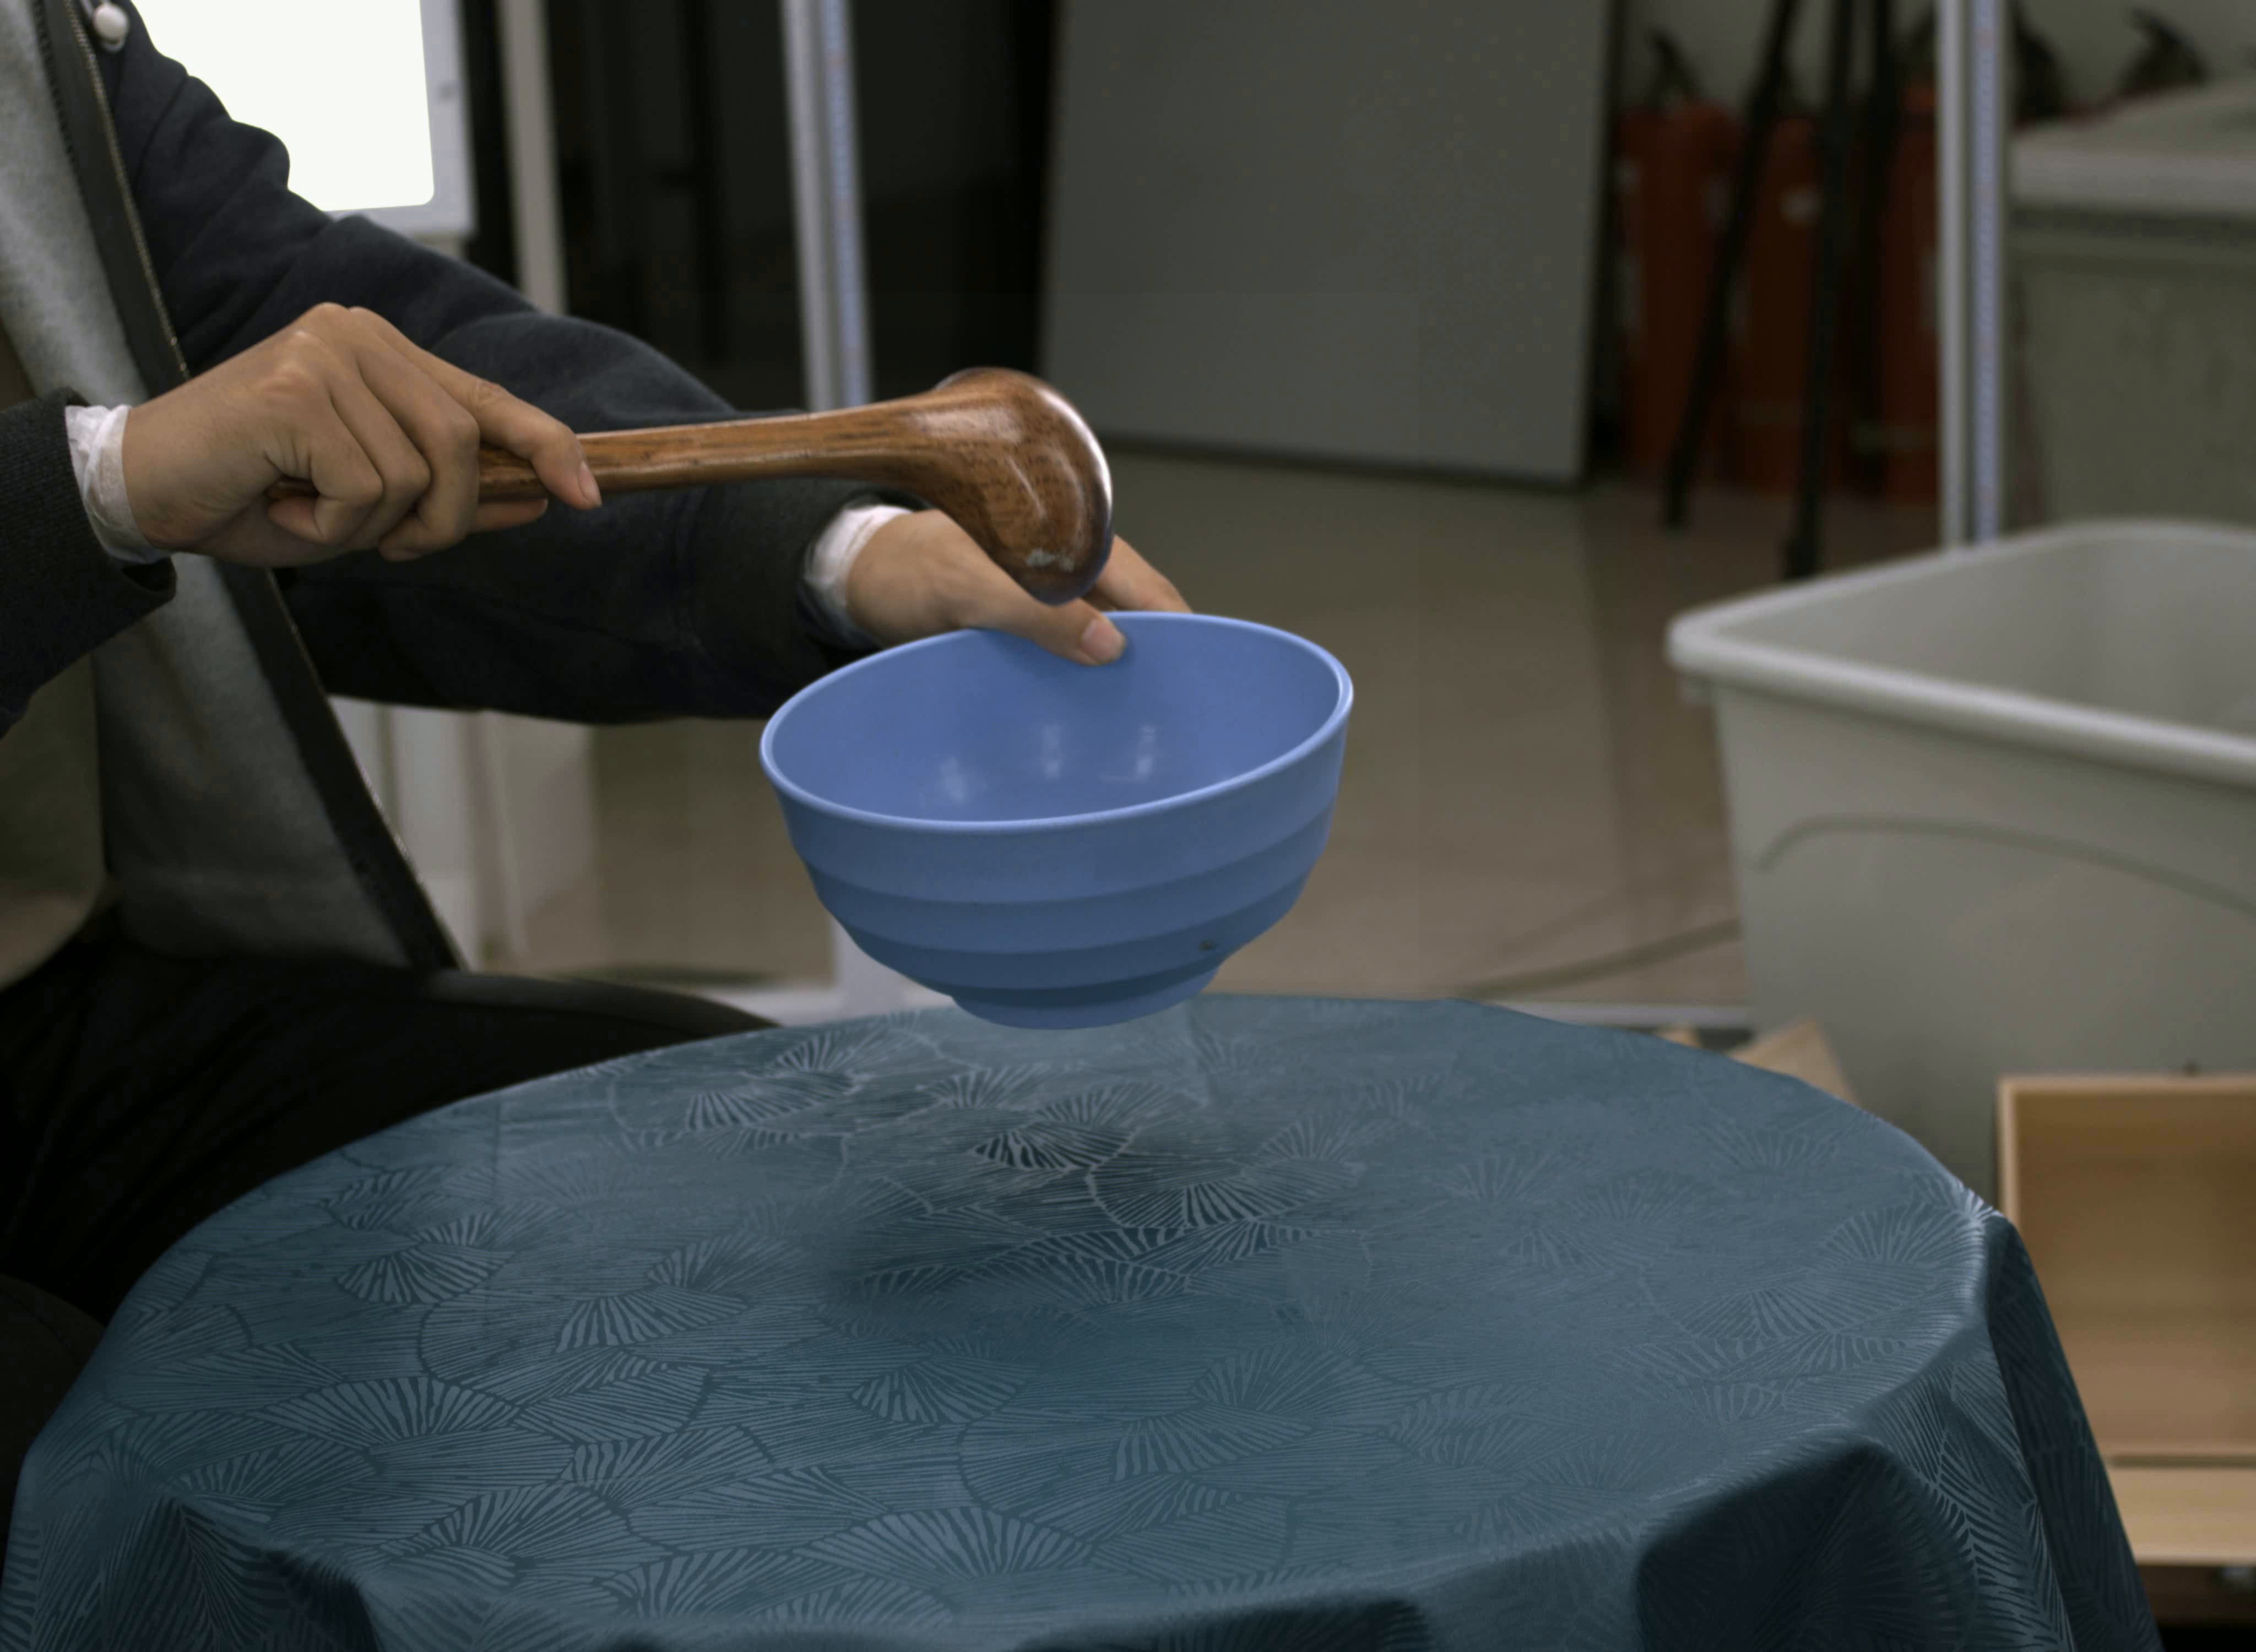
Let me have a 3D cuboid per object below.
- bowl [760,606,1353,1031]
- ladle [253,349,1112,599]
[{"bbox_3d":[-0.018,0.005,1.766,0.194,0.096,0.197,-7,20,2],"label":"bowl"},{"bbox_3d":[-0.136,-0.104,1.689,0.269,0.083,0.077,-5,-31,-10],"label":"ladle"}]
